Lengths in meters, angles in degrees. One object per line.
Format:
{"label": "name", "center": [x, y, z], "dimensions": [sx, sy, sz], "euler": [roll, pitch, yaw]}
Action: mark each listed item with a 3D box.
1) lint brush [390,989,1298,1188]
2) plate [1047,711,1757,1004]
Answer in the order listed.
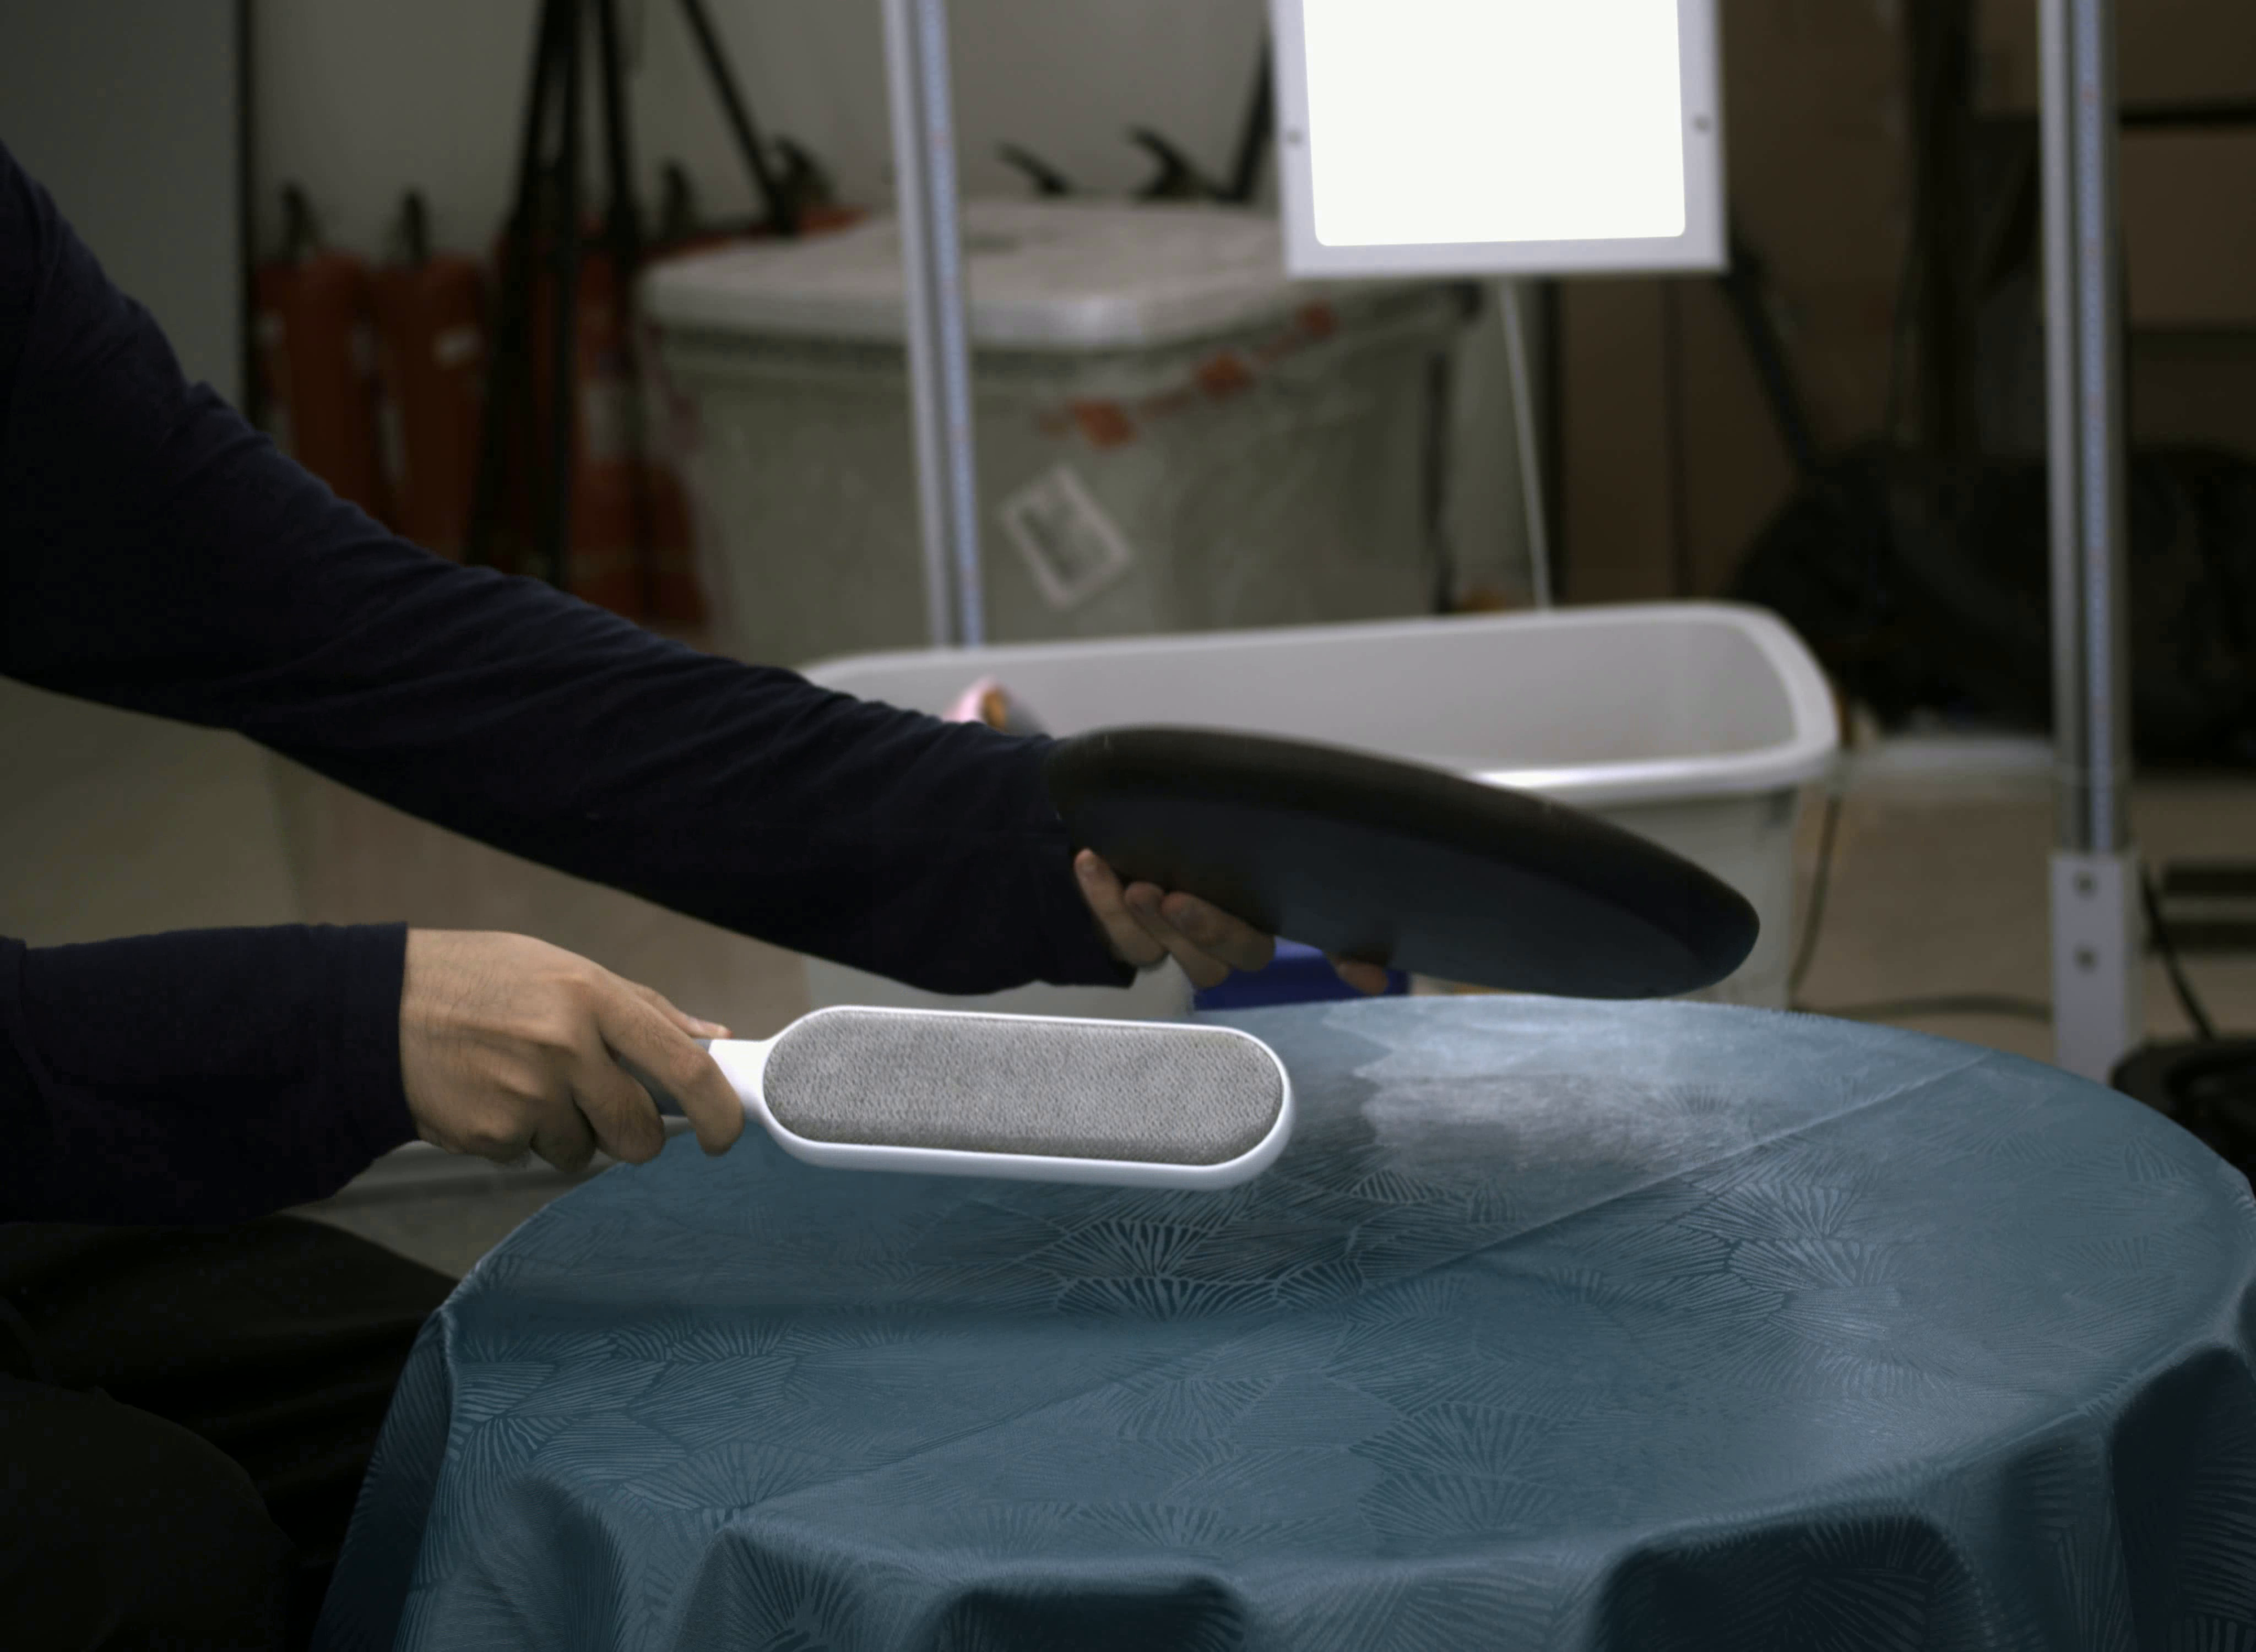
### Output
{"label": "lint brush", "center": [-0.097, 0.083, 1.823], "dimensions": [0.311, 0.060, 0.021], "euler": [3, -26, 14]}
{"label": "plate", "center": [0.093, 0.013, 1.900], "dimensions": [0.255, 0.029, 0.255], "euler": [16, -15, 3]}
